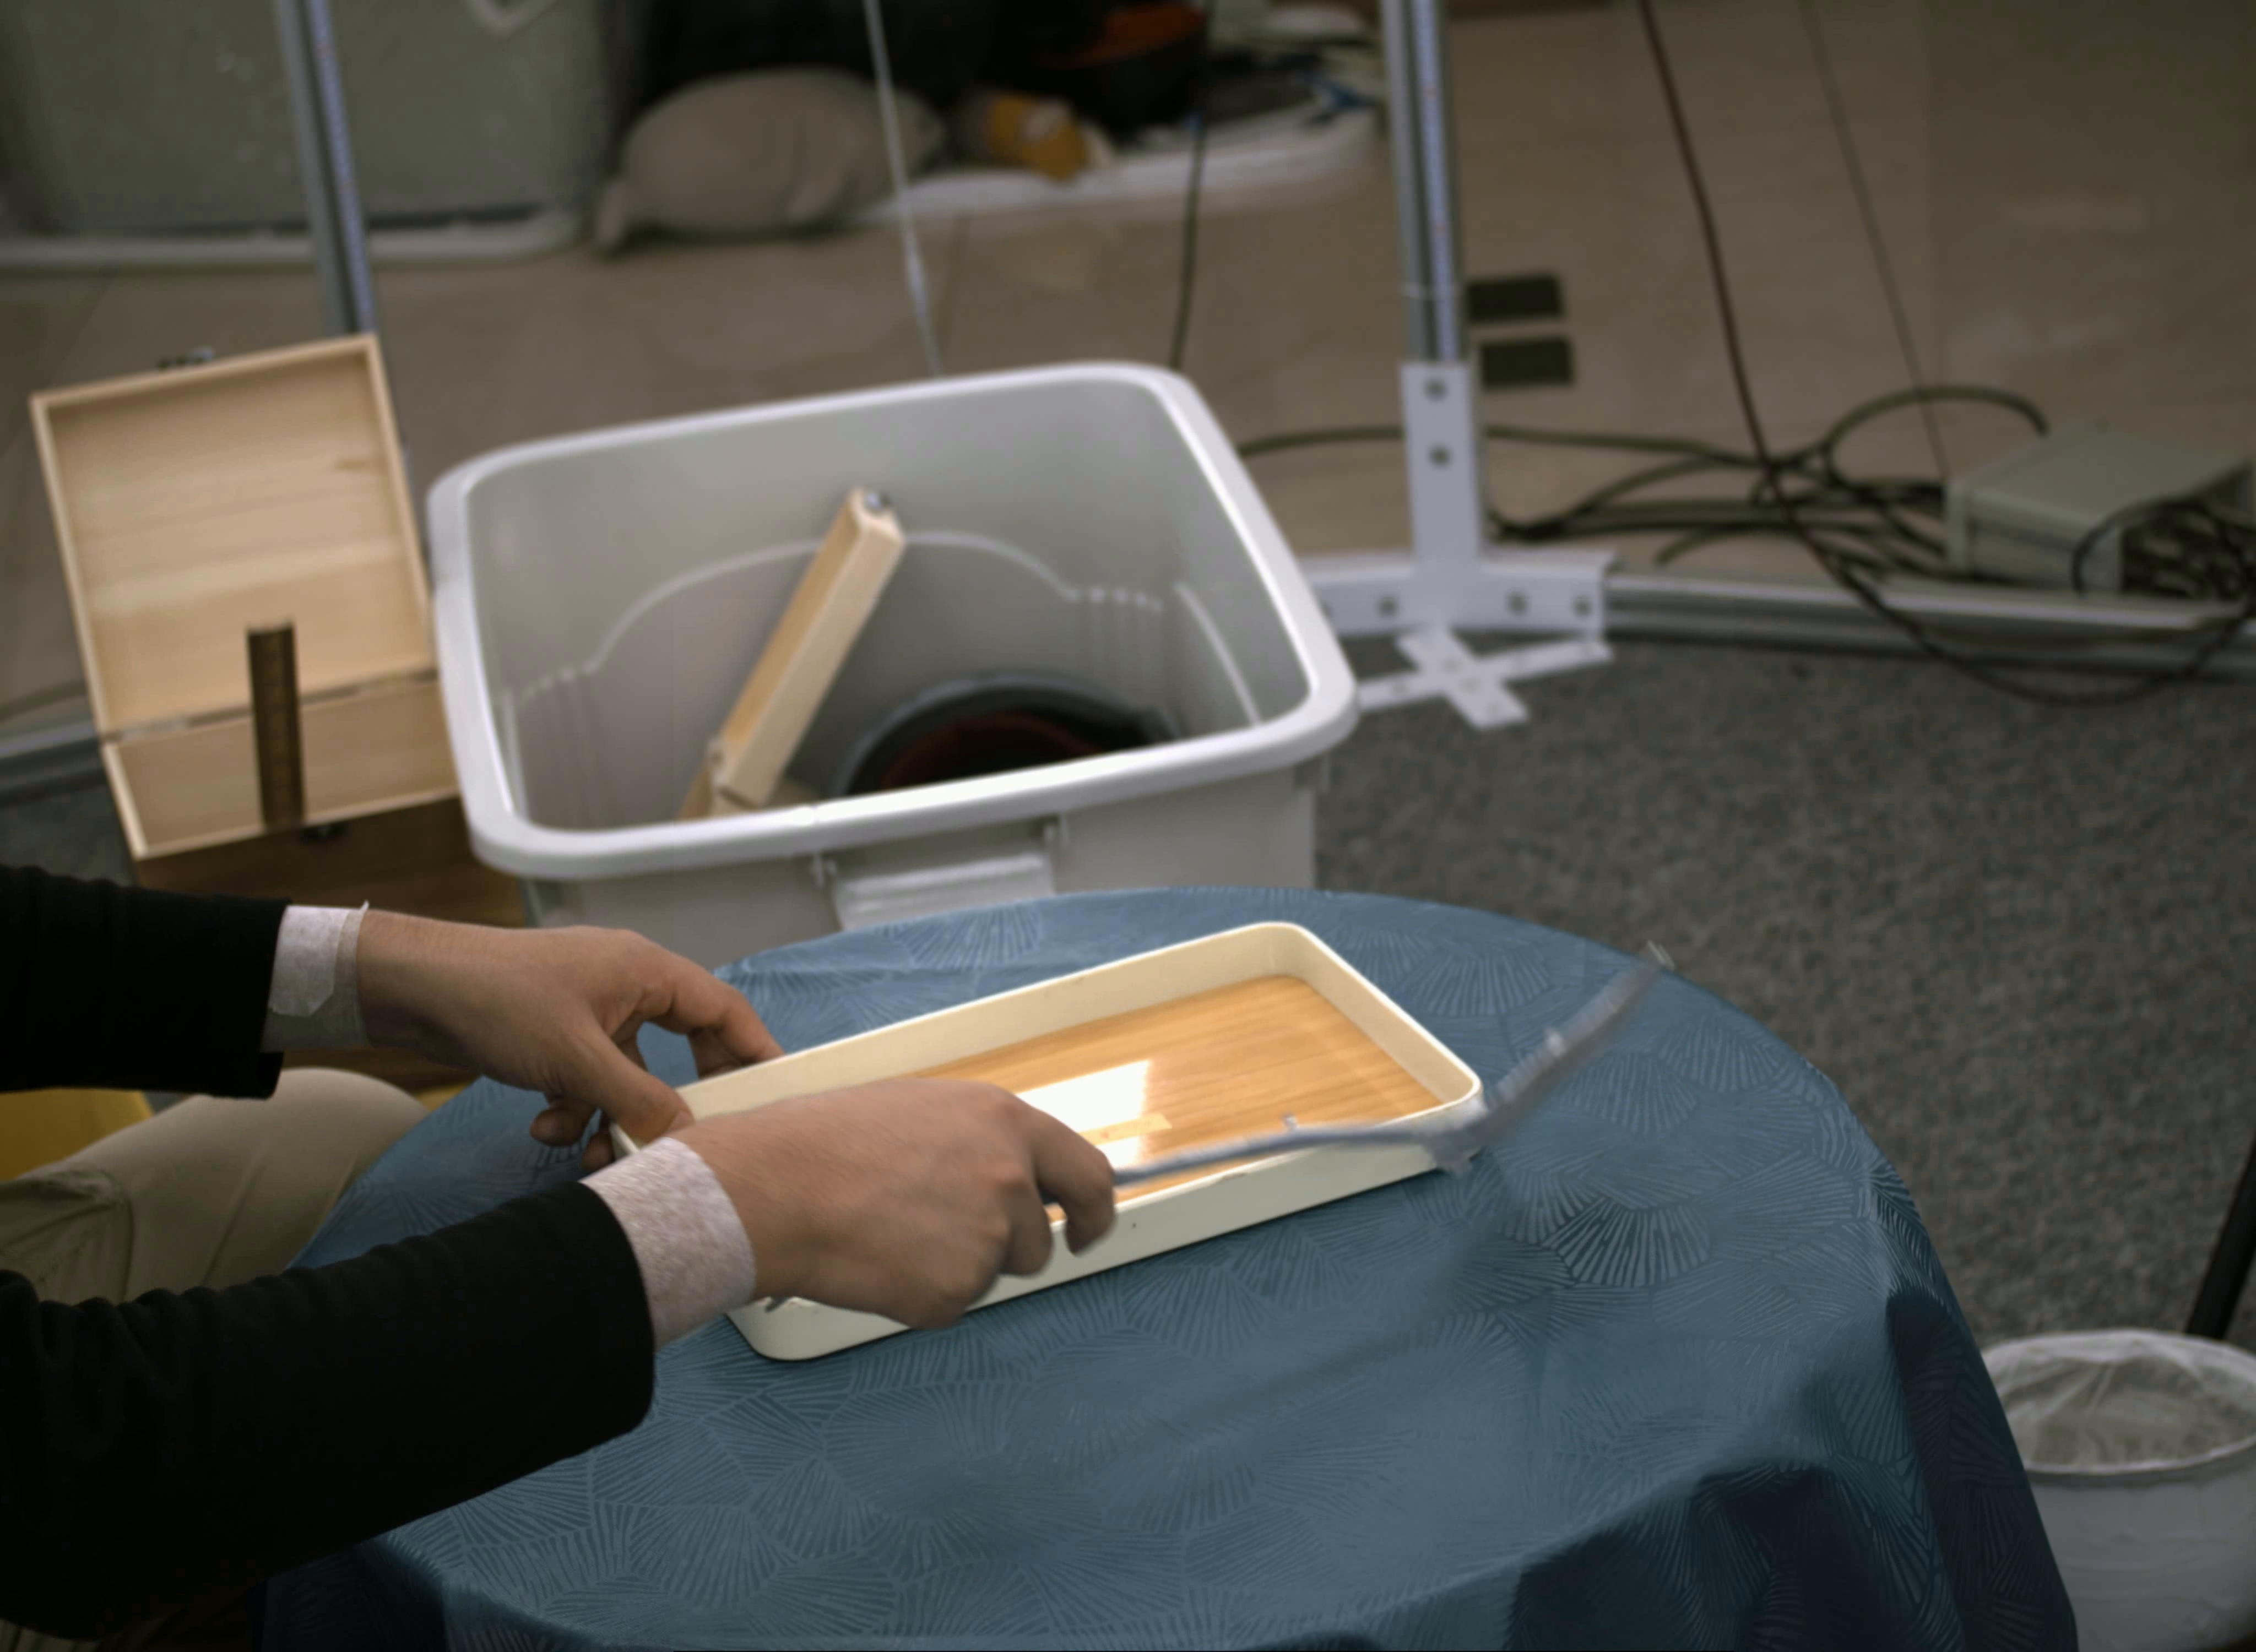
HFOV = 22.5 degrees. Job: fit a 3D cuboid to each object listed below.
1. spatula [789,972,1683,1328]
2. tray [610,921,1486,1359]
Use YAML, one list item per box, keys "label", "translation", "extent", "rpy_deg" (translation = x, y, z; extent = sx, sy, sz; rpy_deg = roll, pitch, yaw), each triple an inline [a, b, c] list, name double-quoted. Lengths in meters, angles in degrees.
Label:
- label: "spatula"
  translation: [0.041, 0.117, 1.986]
  extent: [0.363, 0.100, 0.044]
  rpy_deg: [-10, 67, -27]
- label: "tray"
  translation: [-0.032, 0.116, 2.172]
  extent: [0.299, 0.028, 0.189]
  rpy_deg: [-15, 26, -18]
